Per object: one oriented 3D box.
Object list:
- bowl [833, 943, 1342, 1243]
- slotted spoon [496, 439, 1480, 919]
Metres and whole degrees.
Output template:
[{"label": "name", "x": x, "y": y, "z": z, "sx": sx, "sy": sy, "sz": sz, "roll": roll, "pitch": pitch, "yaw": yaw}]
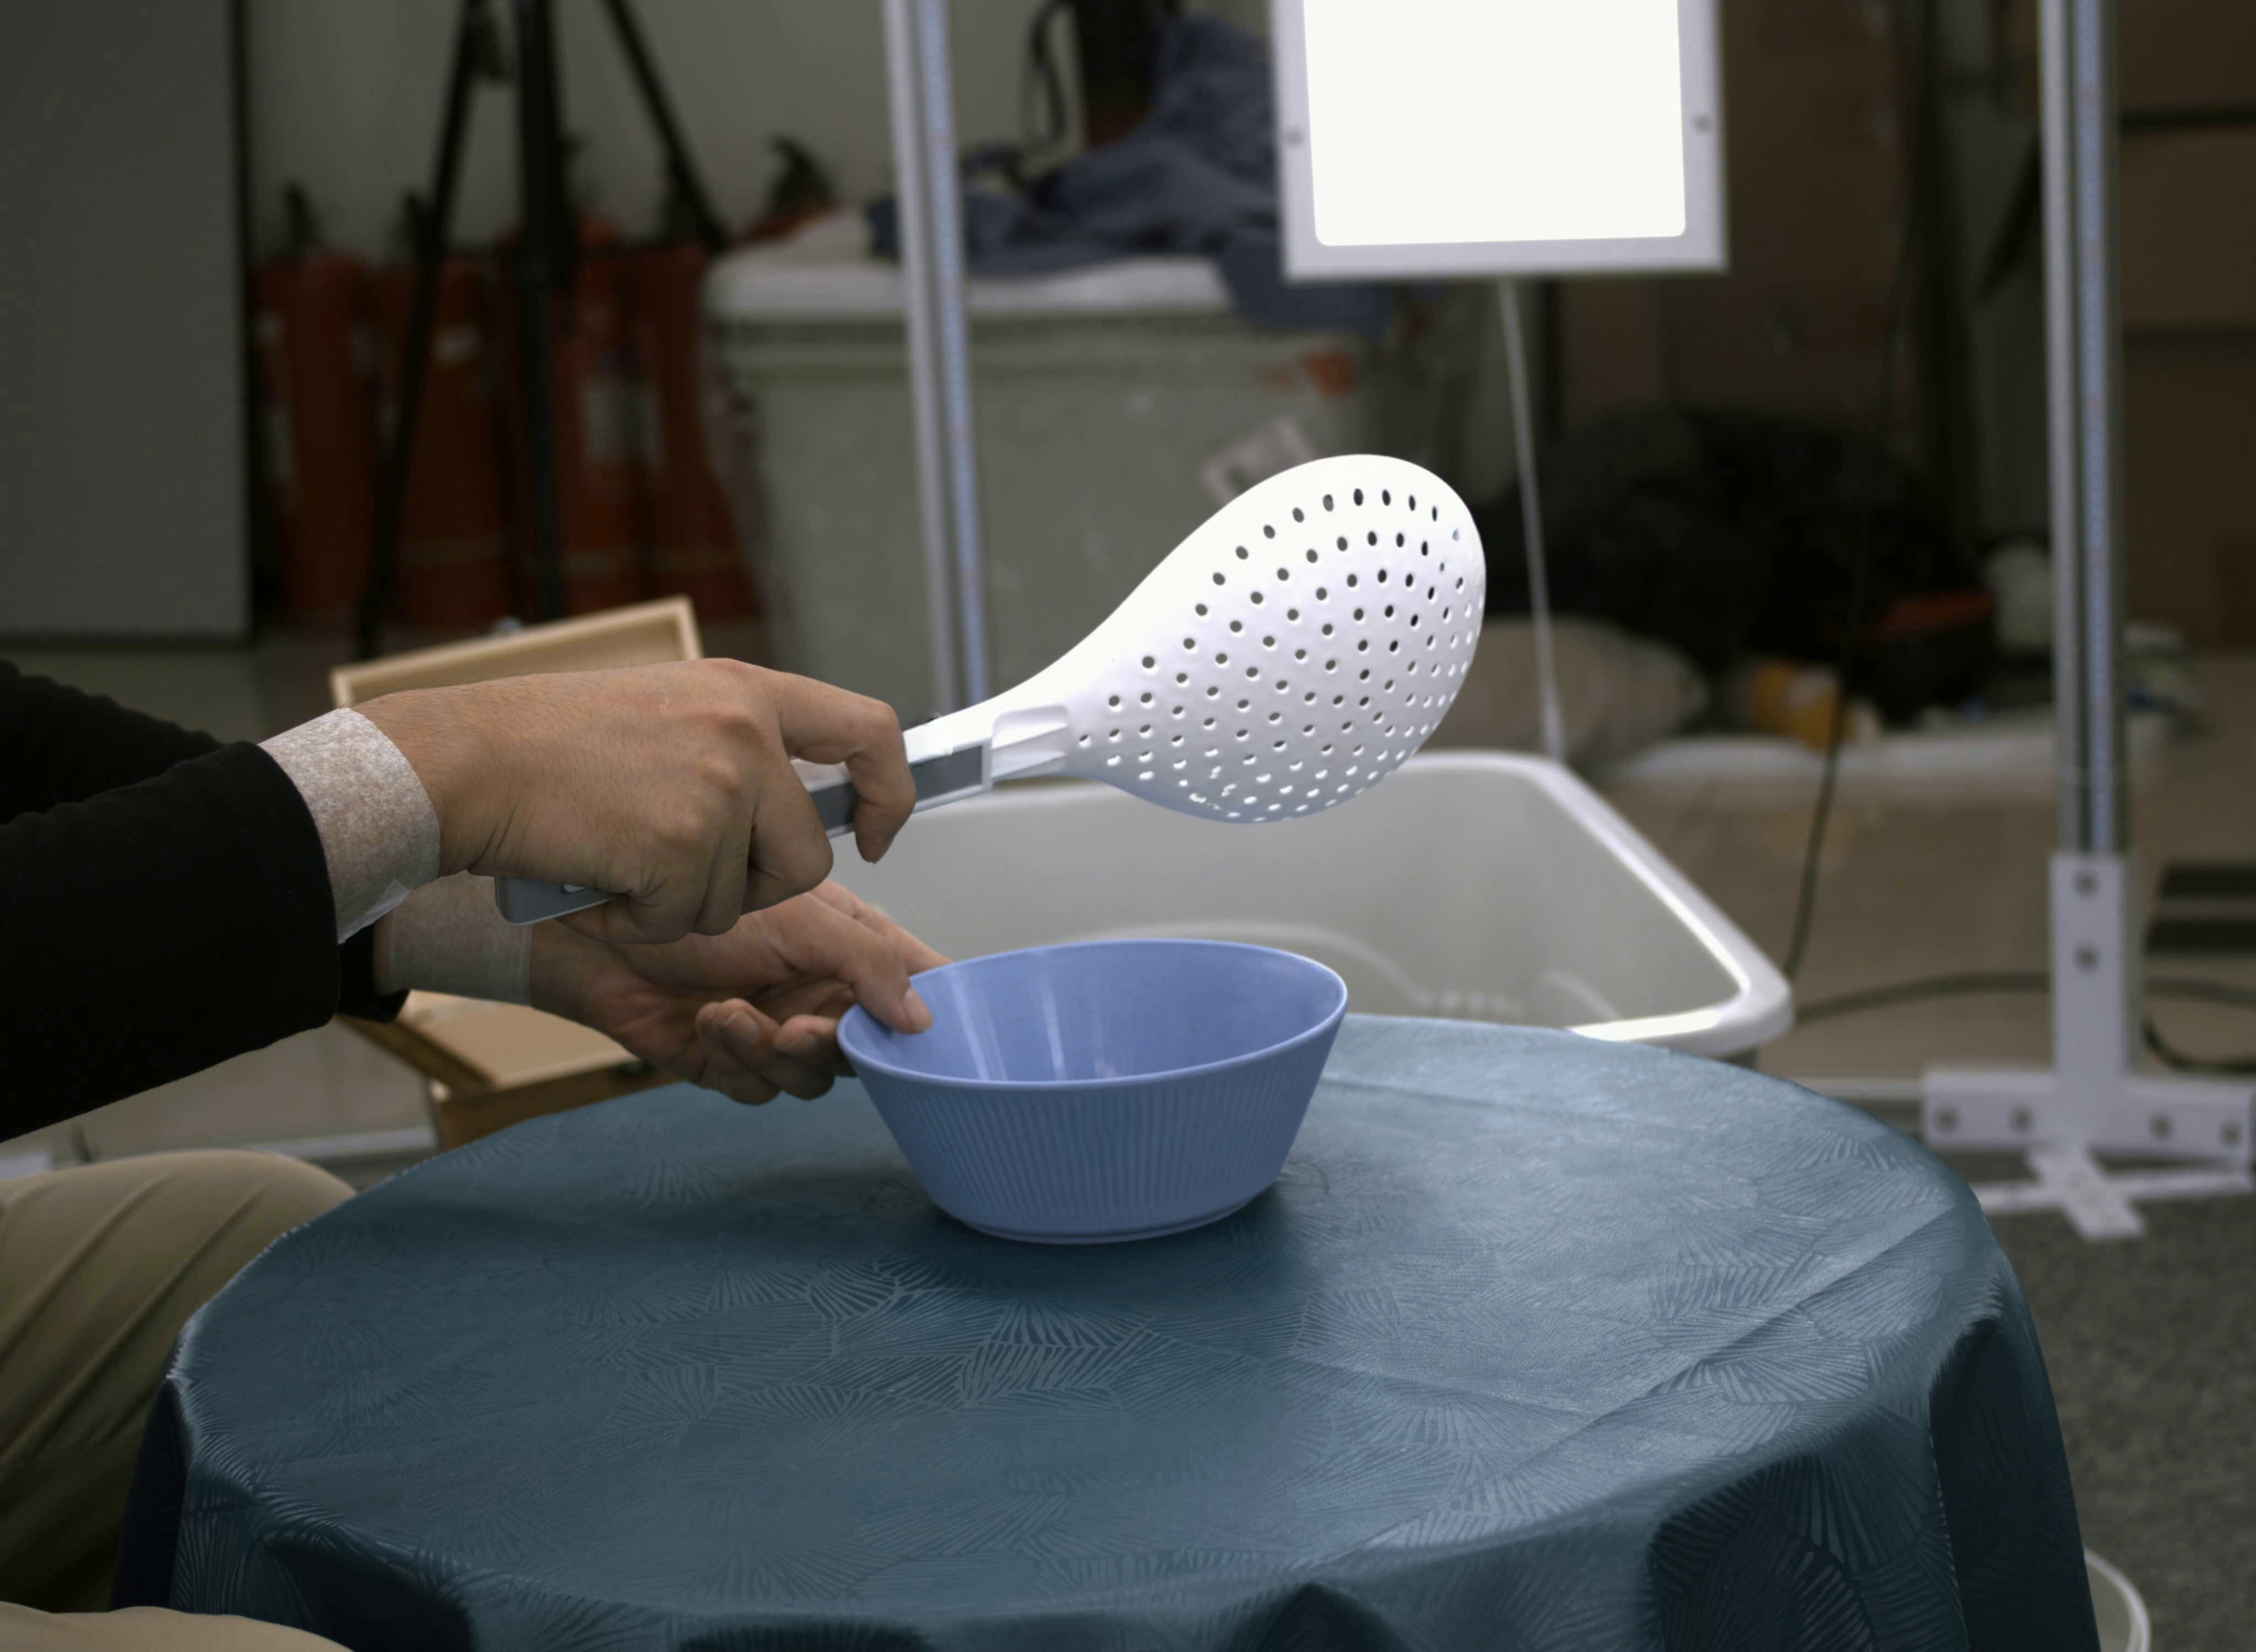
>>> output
[{"label": "bowl", "x": -0.011, "y": 0.094, "z": 1.889, "sx": 0.175, "sy": 0.070, "sz": 0.176, "roll": -6, "pitch": 14, "yaw": 0}, {"label": "slotted spoon", "x": -0.036, "y": -0.031, "z": 1.725, "sx": 0.344, "sy": 0.137, "sz": 0.046, "roll": -14, "pitch": 35, "yaw": -18}]
